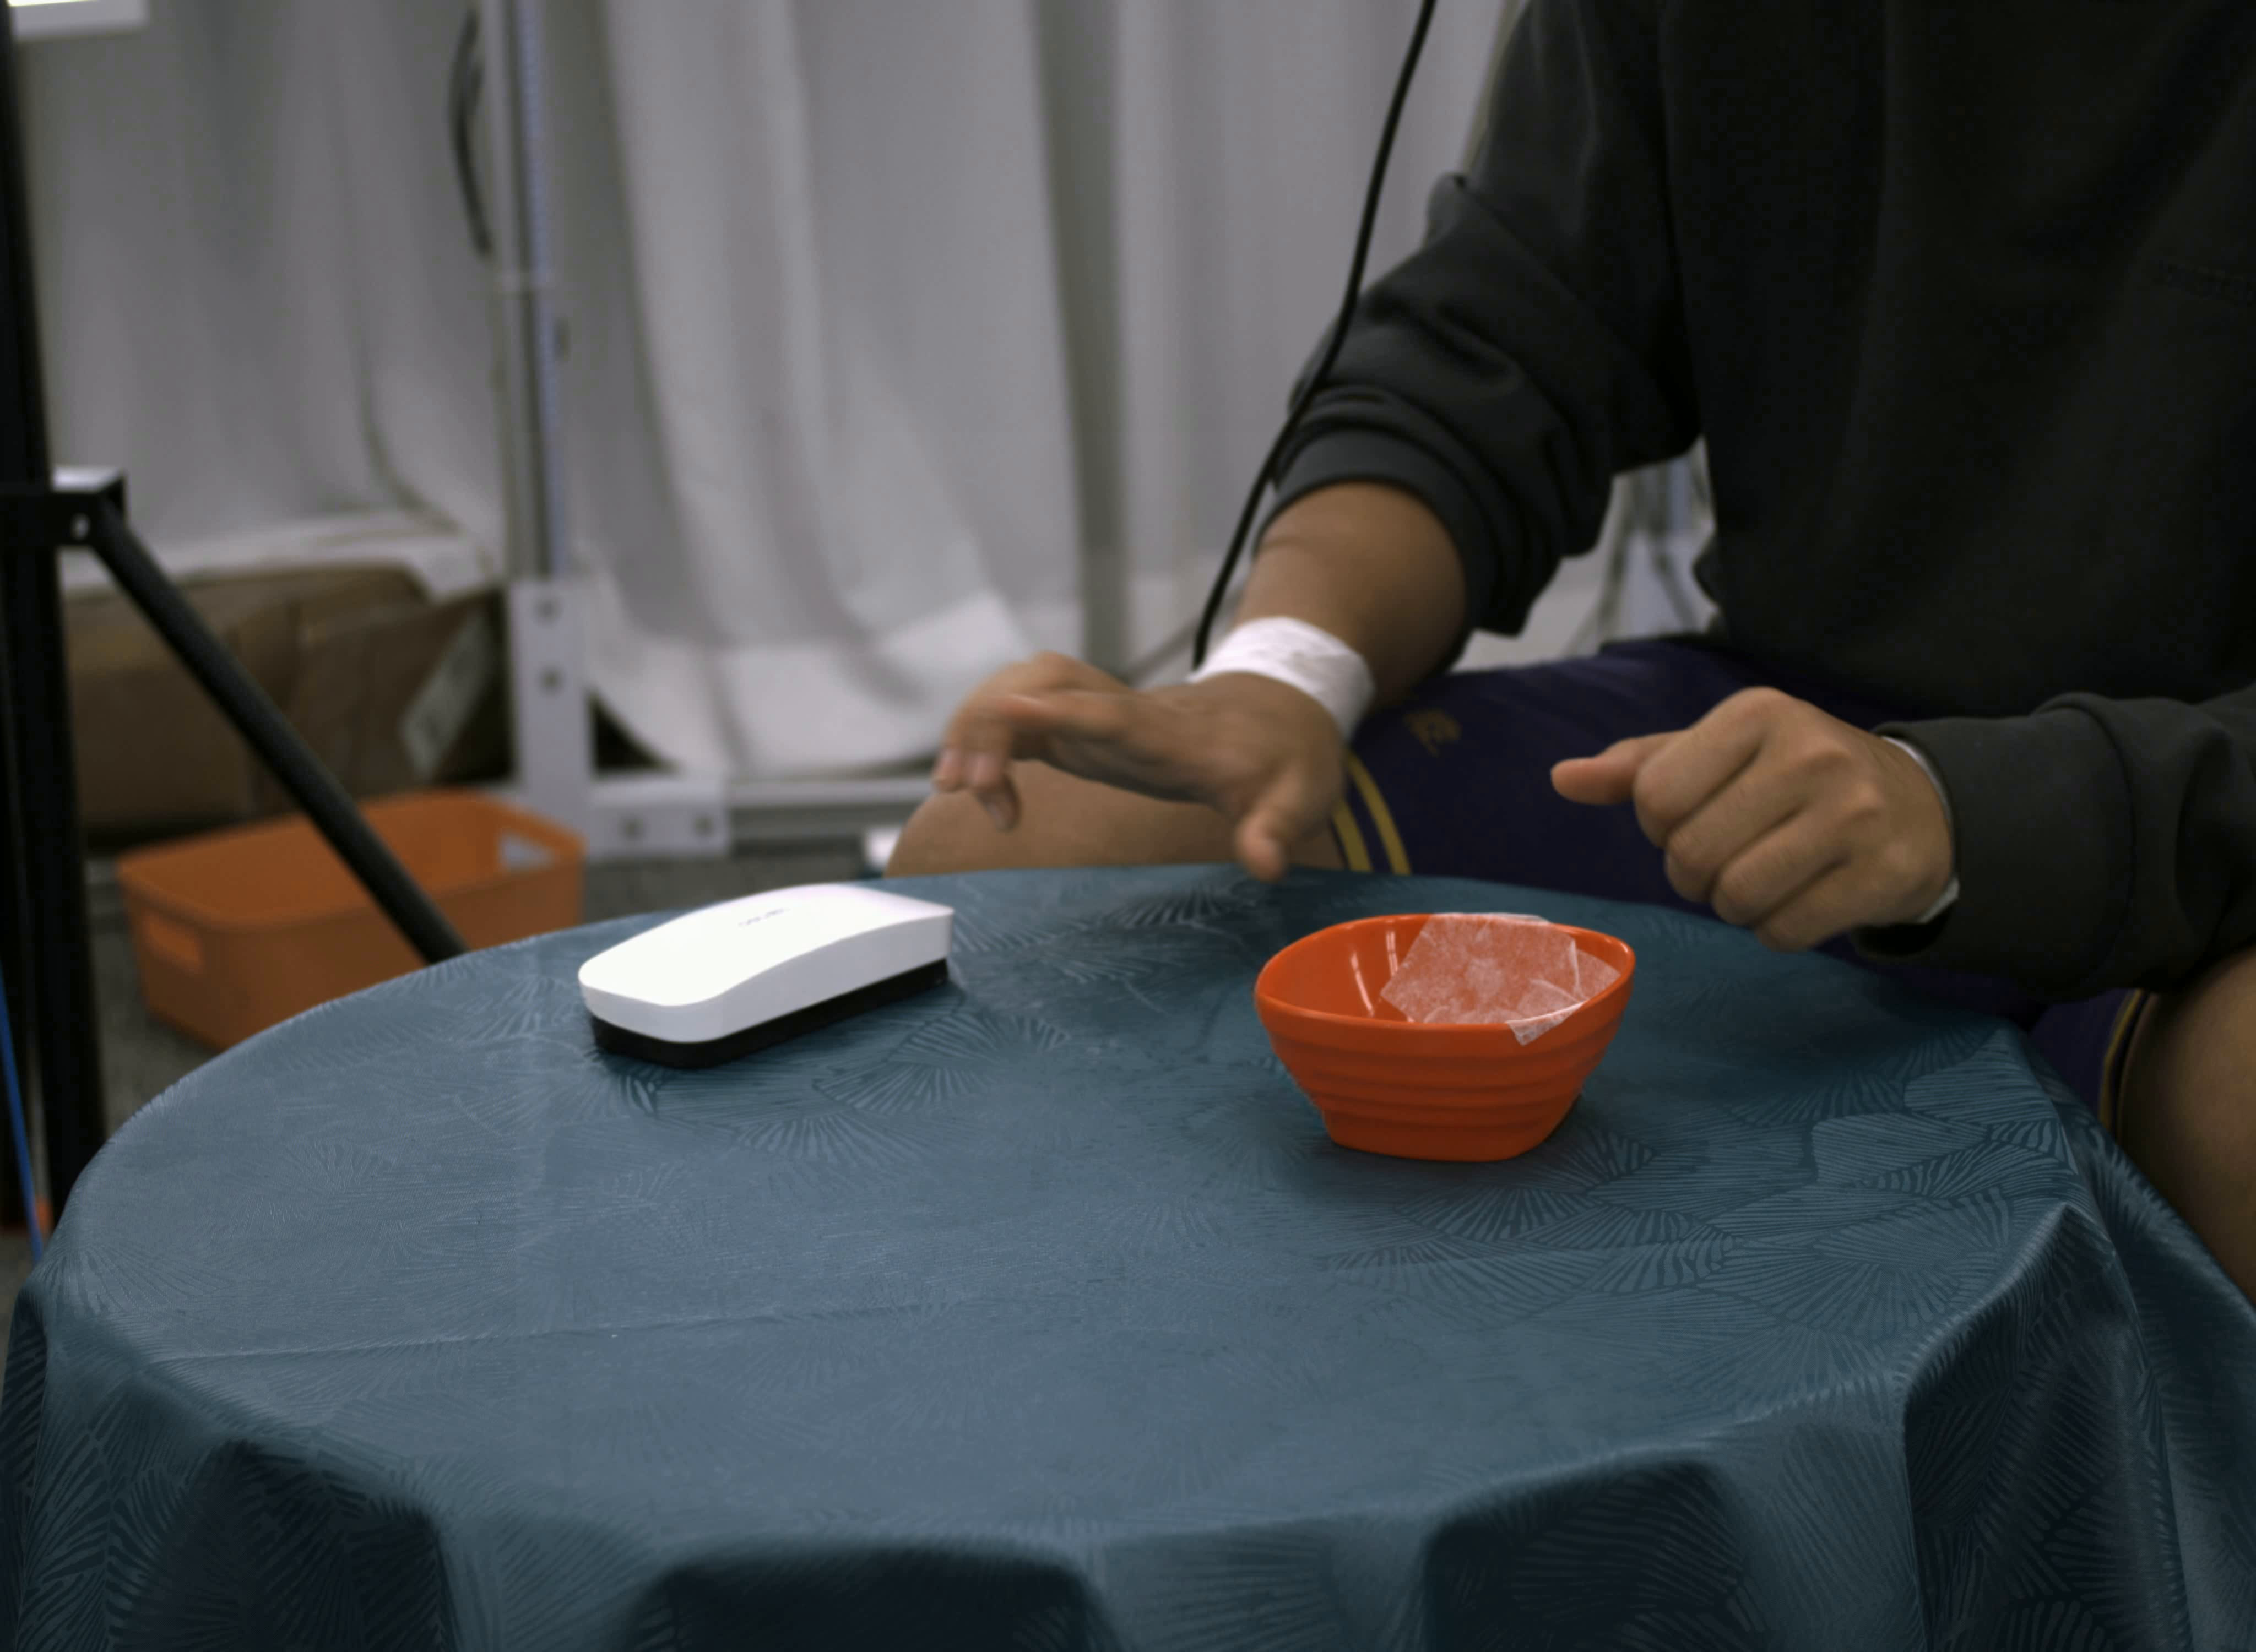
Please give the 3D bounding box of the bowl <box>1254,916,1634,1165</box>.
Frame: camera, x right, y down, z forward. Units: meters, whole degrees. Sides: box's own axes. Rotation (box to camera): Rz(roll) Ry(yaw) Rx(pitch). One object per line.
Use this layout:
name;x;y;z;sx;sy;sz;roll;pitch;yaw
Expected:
bowl;0.096;0.067;1.597;0.118;0.051;0.119;-4;15;0

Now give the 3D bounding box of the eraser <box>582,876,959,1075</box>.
eraser;-0.115;0.045;1.741;0.065;0.034;0.128;14;24;42
